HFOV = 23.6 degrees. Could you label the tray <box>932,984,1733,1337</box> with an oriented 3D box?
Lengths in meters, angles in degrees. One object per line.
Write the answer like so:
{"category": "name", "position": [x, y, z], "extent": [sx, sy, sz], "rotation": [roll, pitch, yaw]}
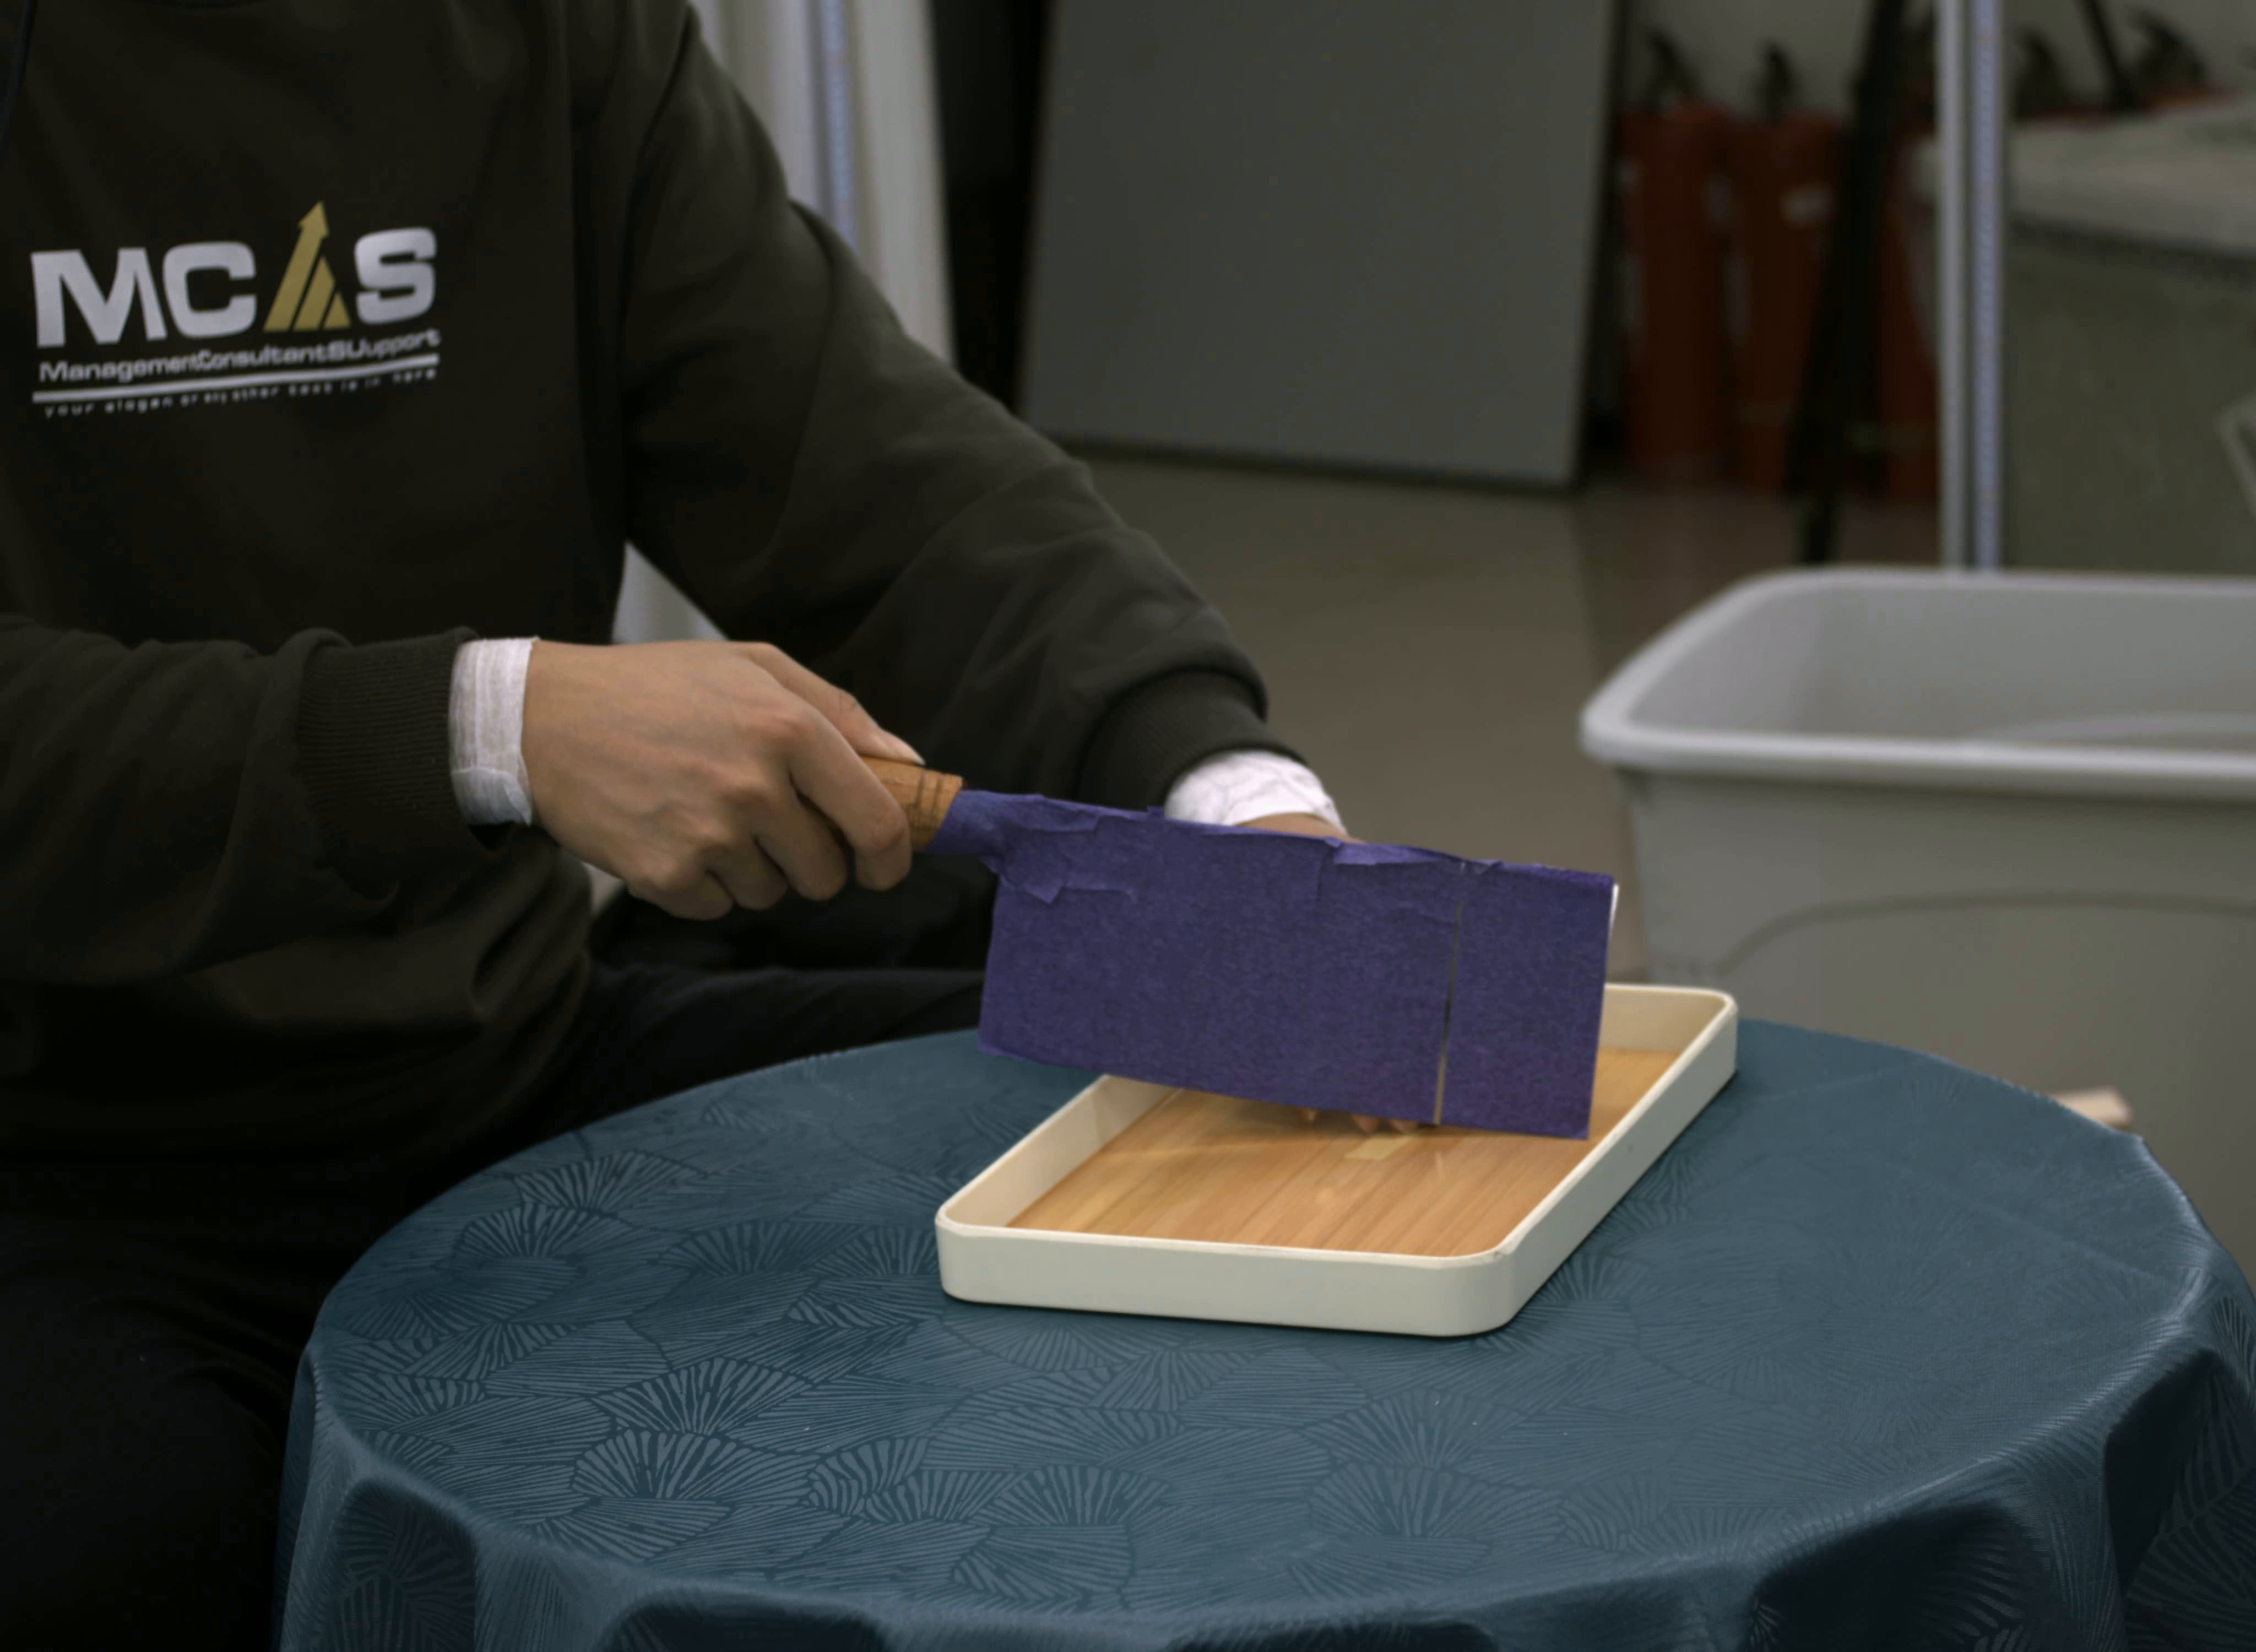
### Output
{"category": "tray", "position": [0.074, 0.103, 1.769], "extent": [0.191, 0.028, 0.297], "rotation": [2, 15, 22]}

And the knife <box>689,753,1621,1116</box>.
{"category": "knife", "position": [0.005, 0.038, 1.786], "extent": [0.313, 0.105, 0.032], "rotation": [7, 5, 8]}
